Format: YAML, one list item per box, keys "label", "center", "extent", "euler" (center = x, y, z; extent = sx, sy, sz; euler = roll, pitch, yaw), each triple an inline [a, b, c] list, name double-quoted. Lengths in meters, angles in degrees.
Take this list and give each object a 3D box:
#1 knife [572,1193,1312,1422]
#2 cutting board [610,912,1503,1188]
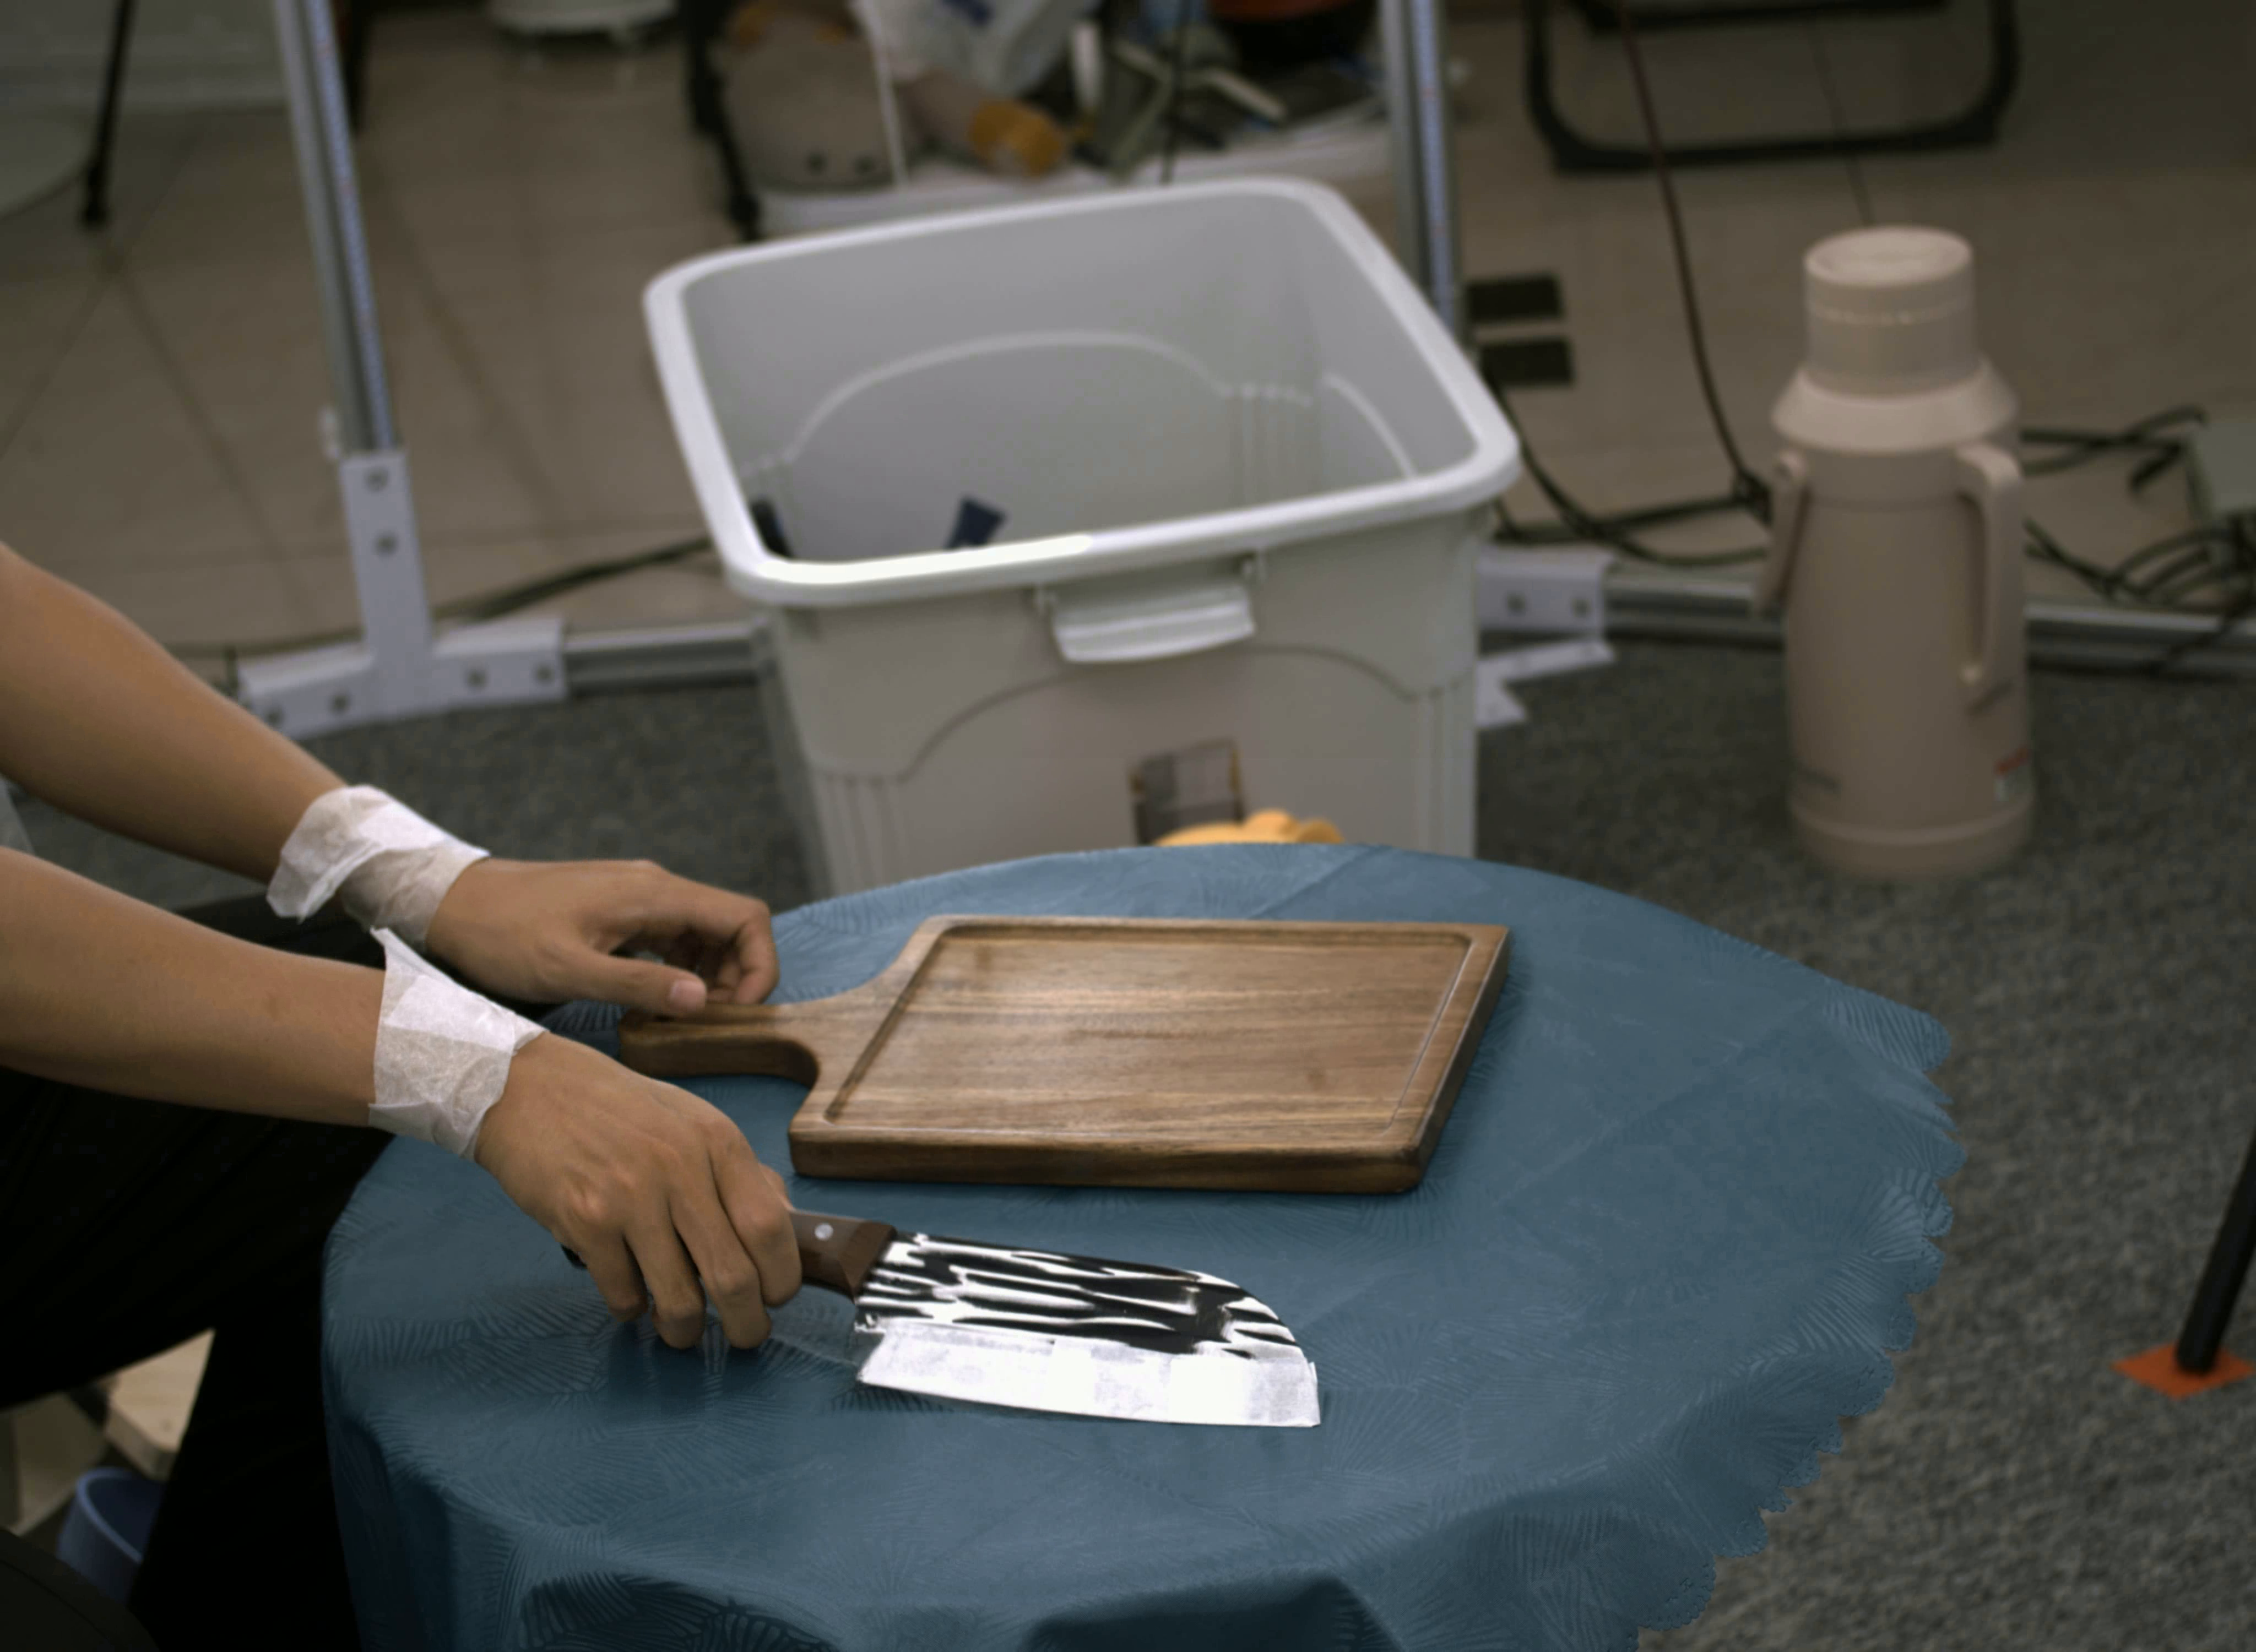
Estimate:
- label: "knife"
  center: [-0.071, 0.175, 2.044]
  extent: [0.298, 0.024, 0.067]
  euler: [7, 51, 18]
- label: "cutting board"
  center: [-0.039, 0.085, 2.251]
  extent: [0.351, 0.023, 0.198]
  euler: [1, 26, 16]
